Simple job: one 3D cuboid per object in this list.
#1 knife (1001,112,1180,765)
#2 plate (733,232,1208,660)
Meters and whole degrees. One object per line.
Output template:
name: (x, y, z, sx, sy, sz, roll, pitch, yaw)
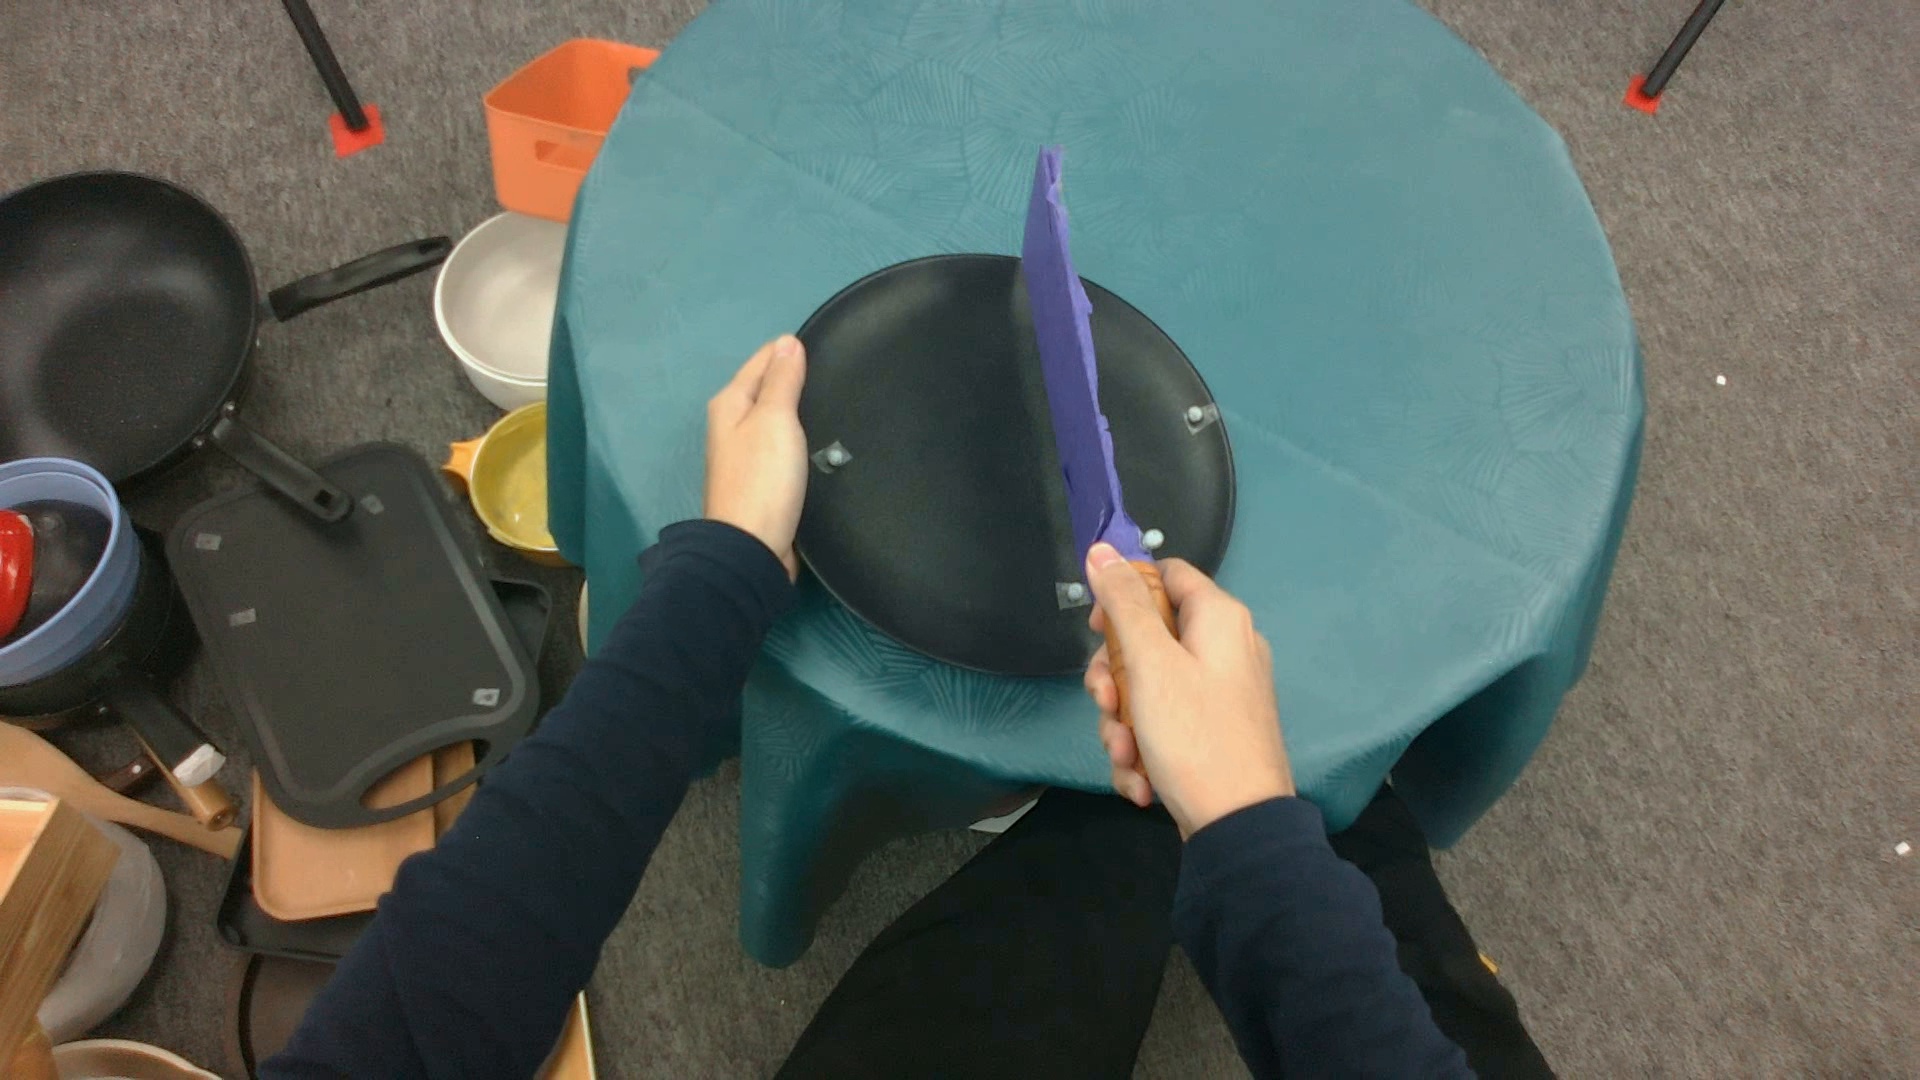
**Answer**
knife: (0.053, -0.044, 0.637, 0.032, 0.103, 0.316, -5, 66, -6)
plate: (0.008, -0.051, 0.694, 0.244, 0.023, 0.245, 6, 63, -12)
